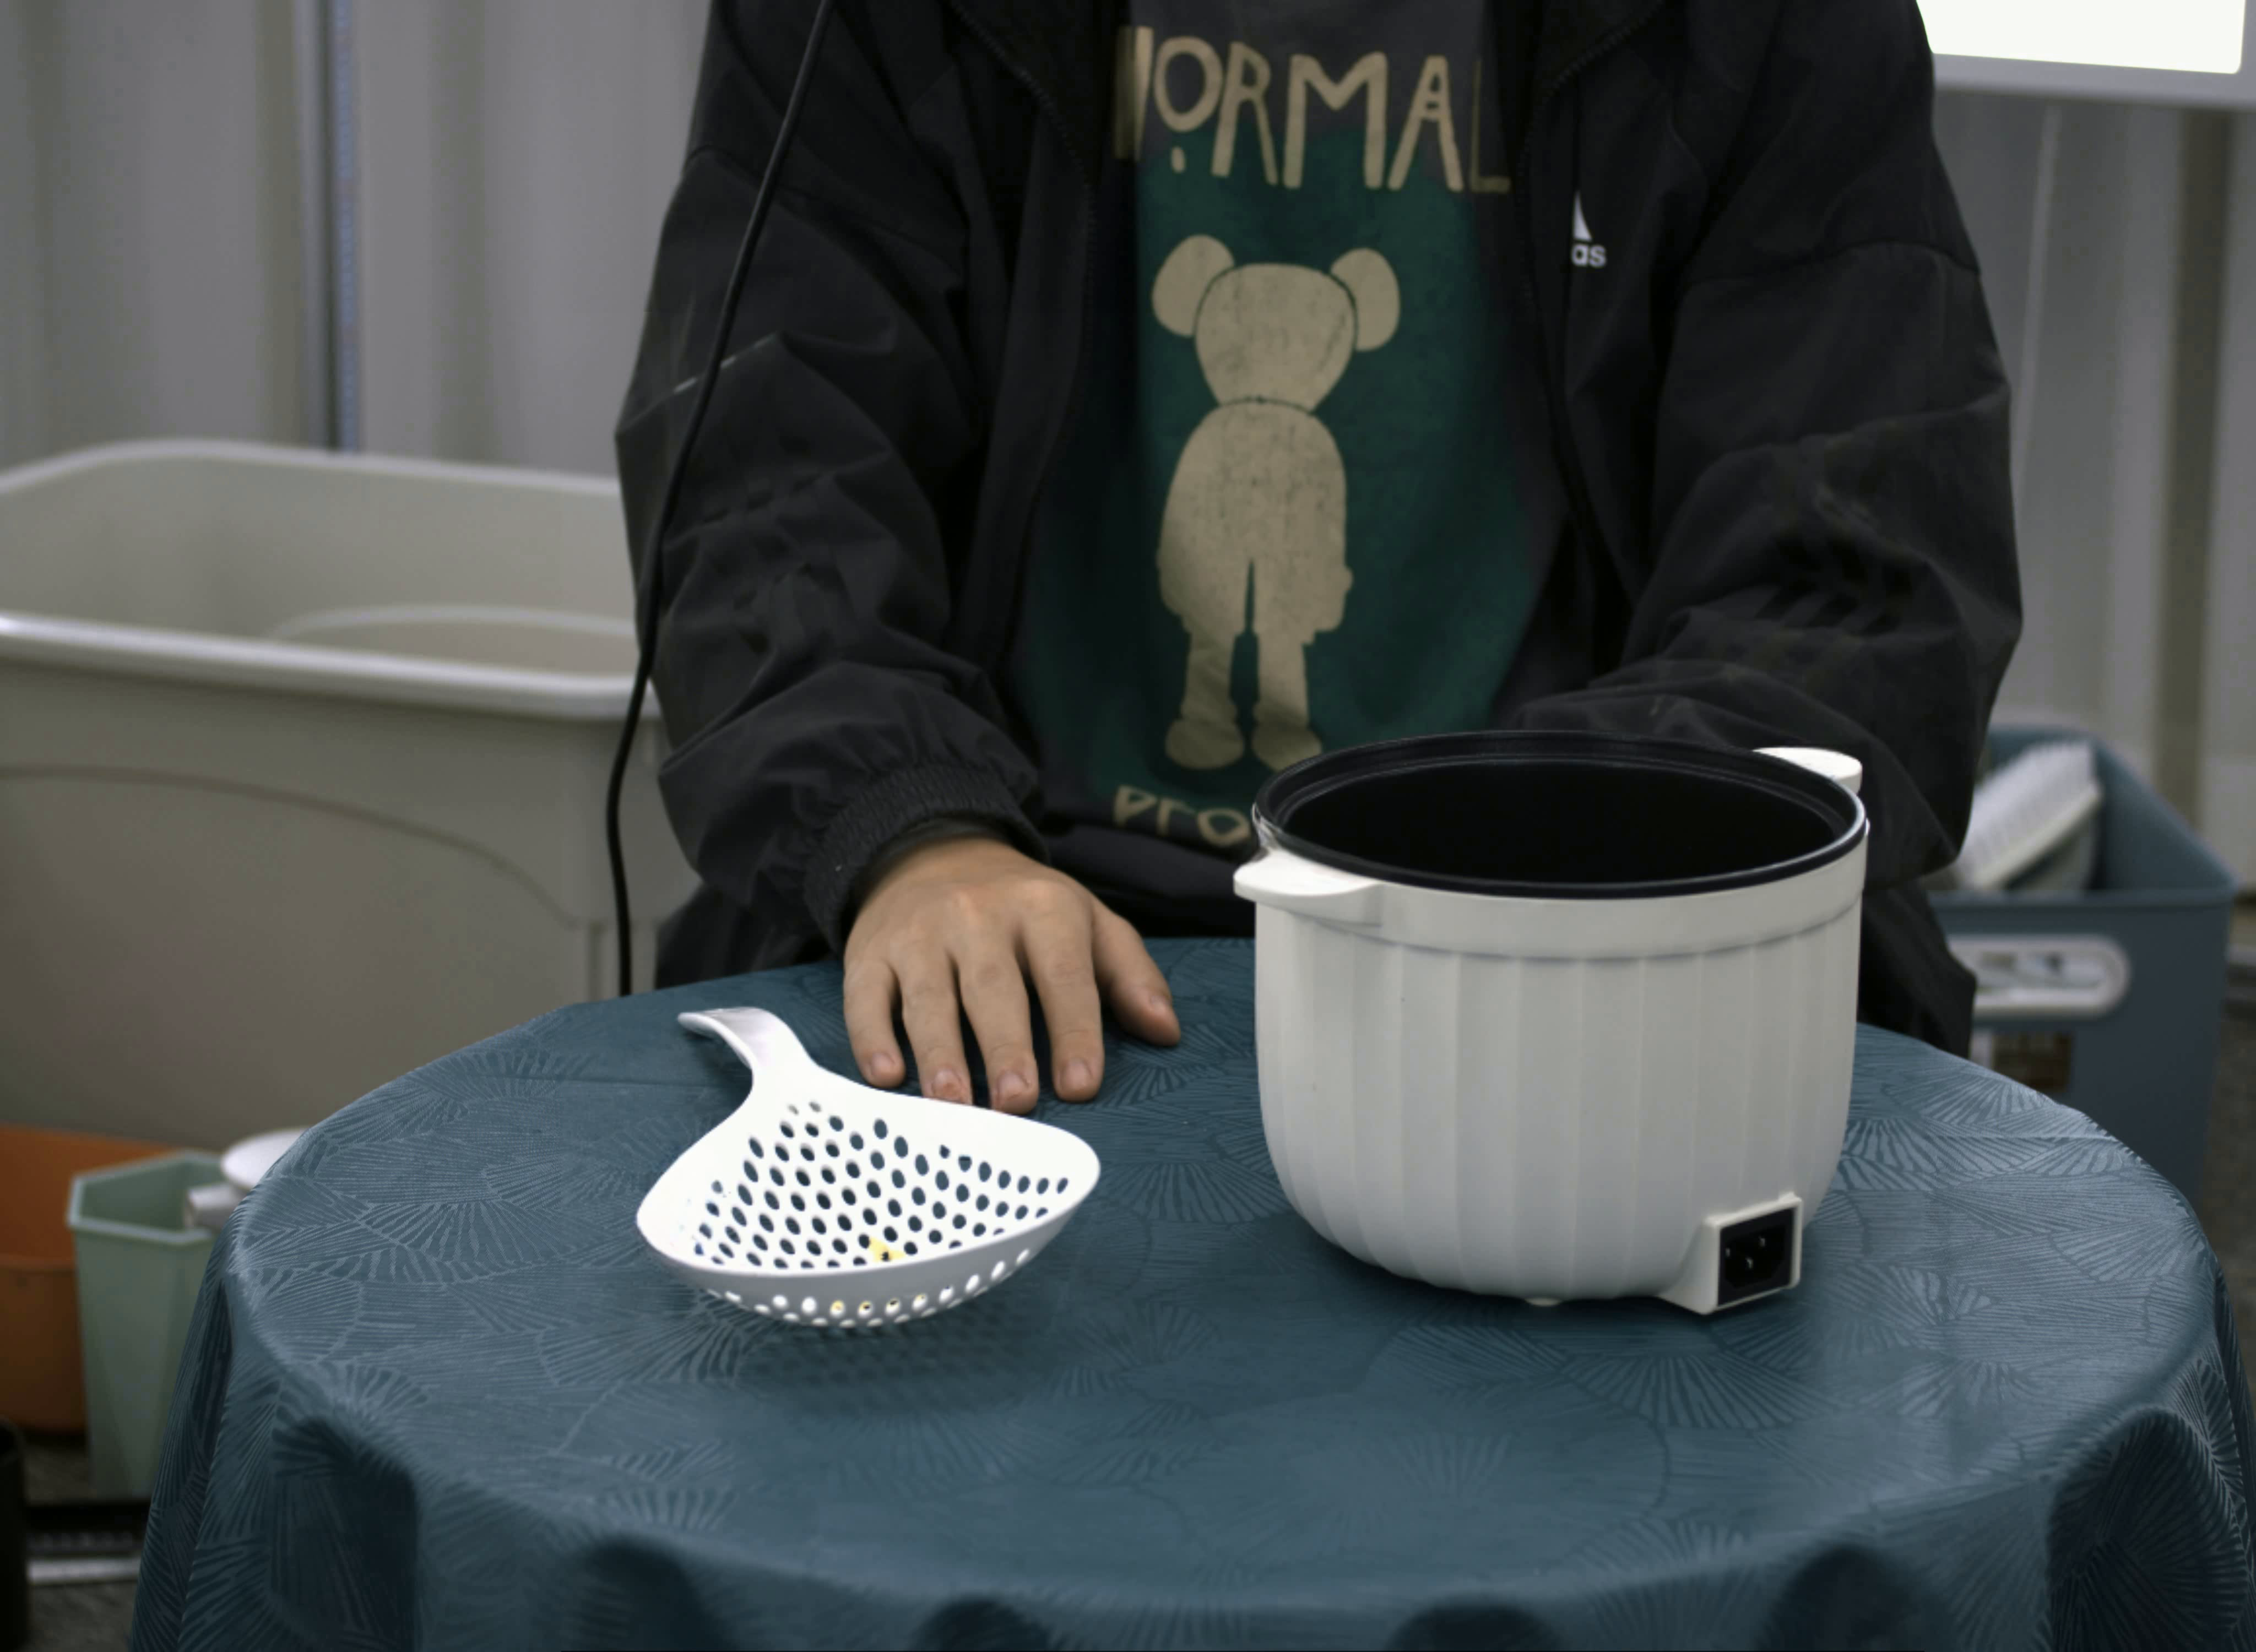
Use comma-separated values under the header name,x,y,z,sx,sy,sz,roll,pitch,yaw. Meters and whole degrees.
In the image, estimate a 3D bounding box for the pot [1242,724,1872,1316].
name,x,y,z,sx,sy,sz,roll,pitch,yaw
pot,0.123,0.056,1.573,0.242,0.144,0.188,-11,22,-39

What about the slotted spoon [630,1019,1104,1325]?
name,x,y,z,sx,sy,sz,roll,pitch,yaw
slotted spoon,-0.101,0.091,1.615,0.137,0.051,0.344,-12,18,-12
